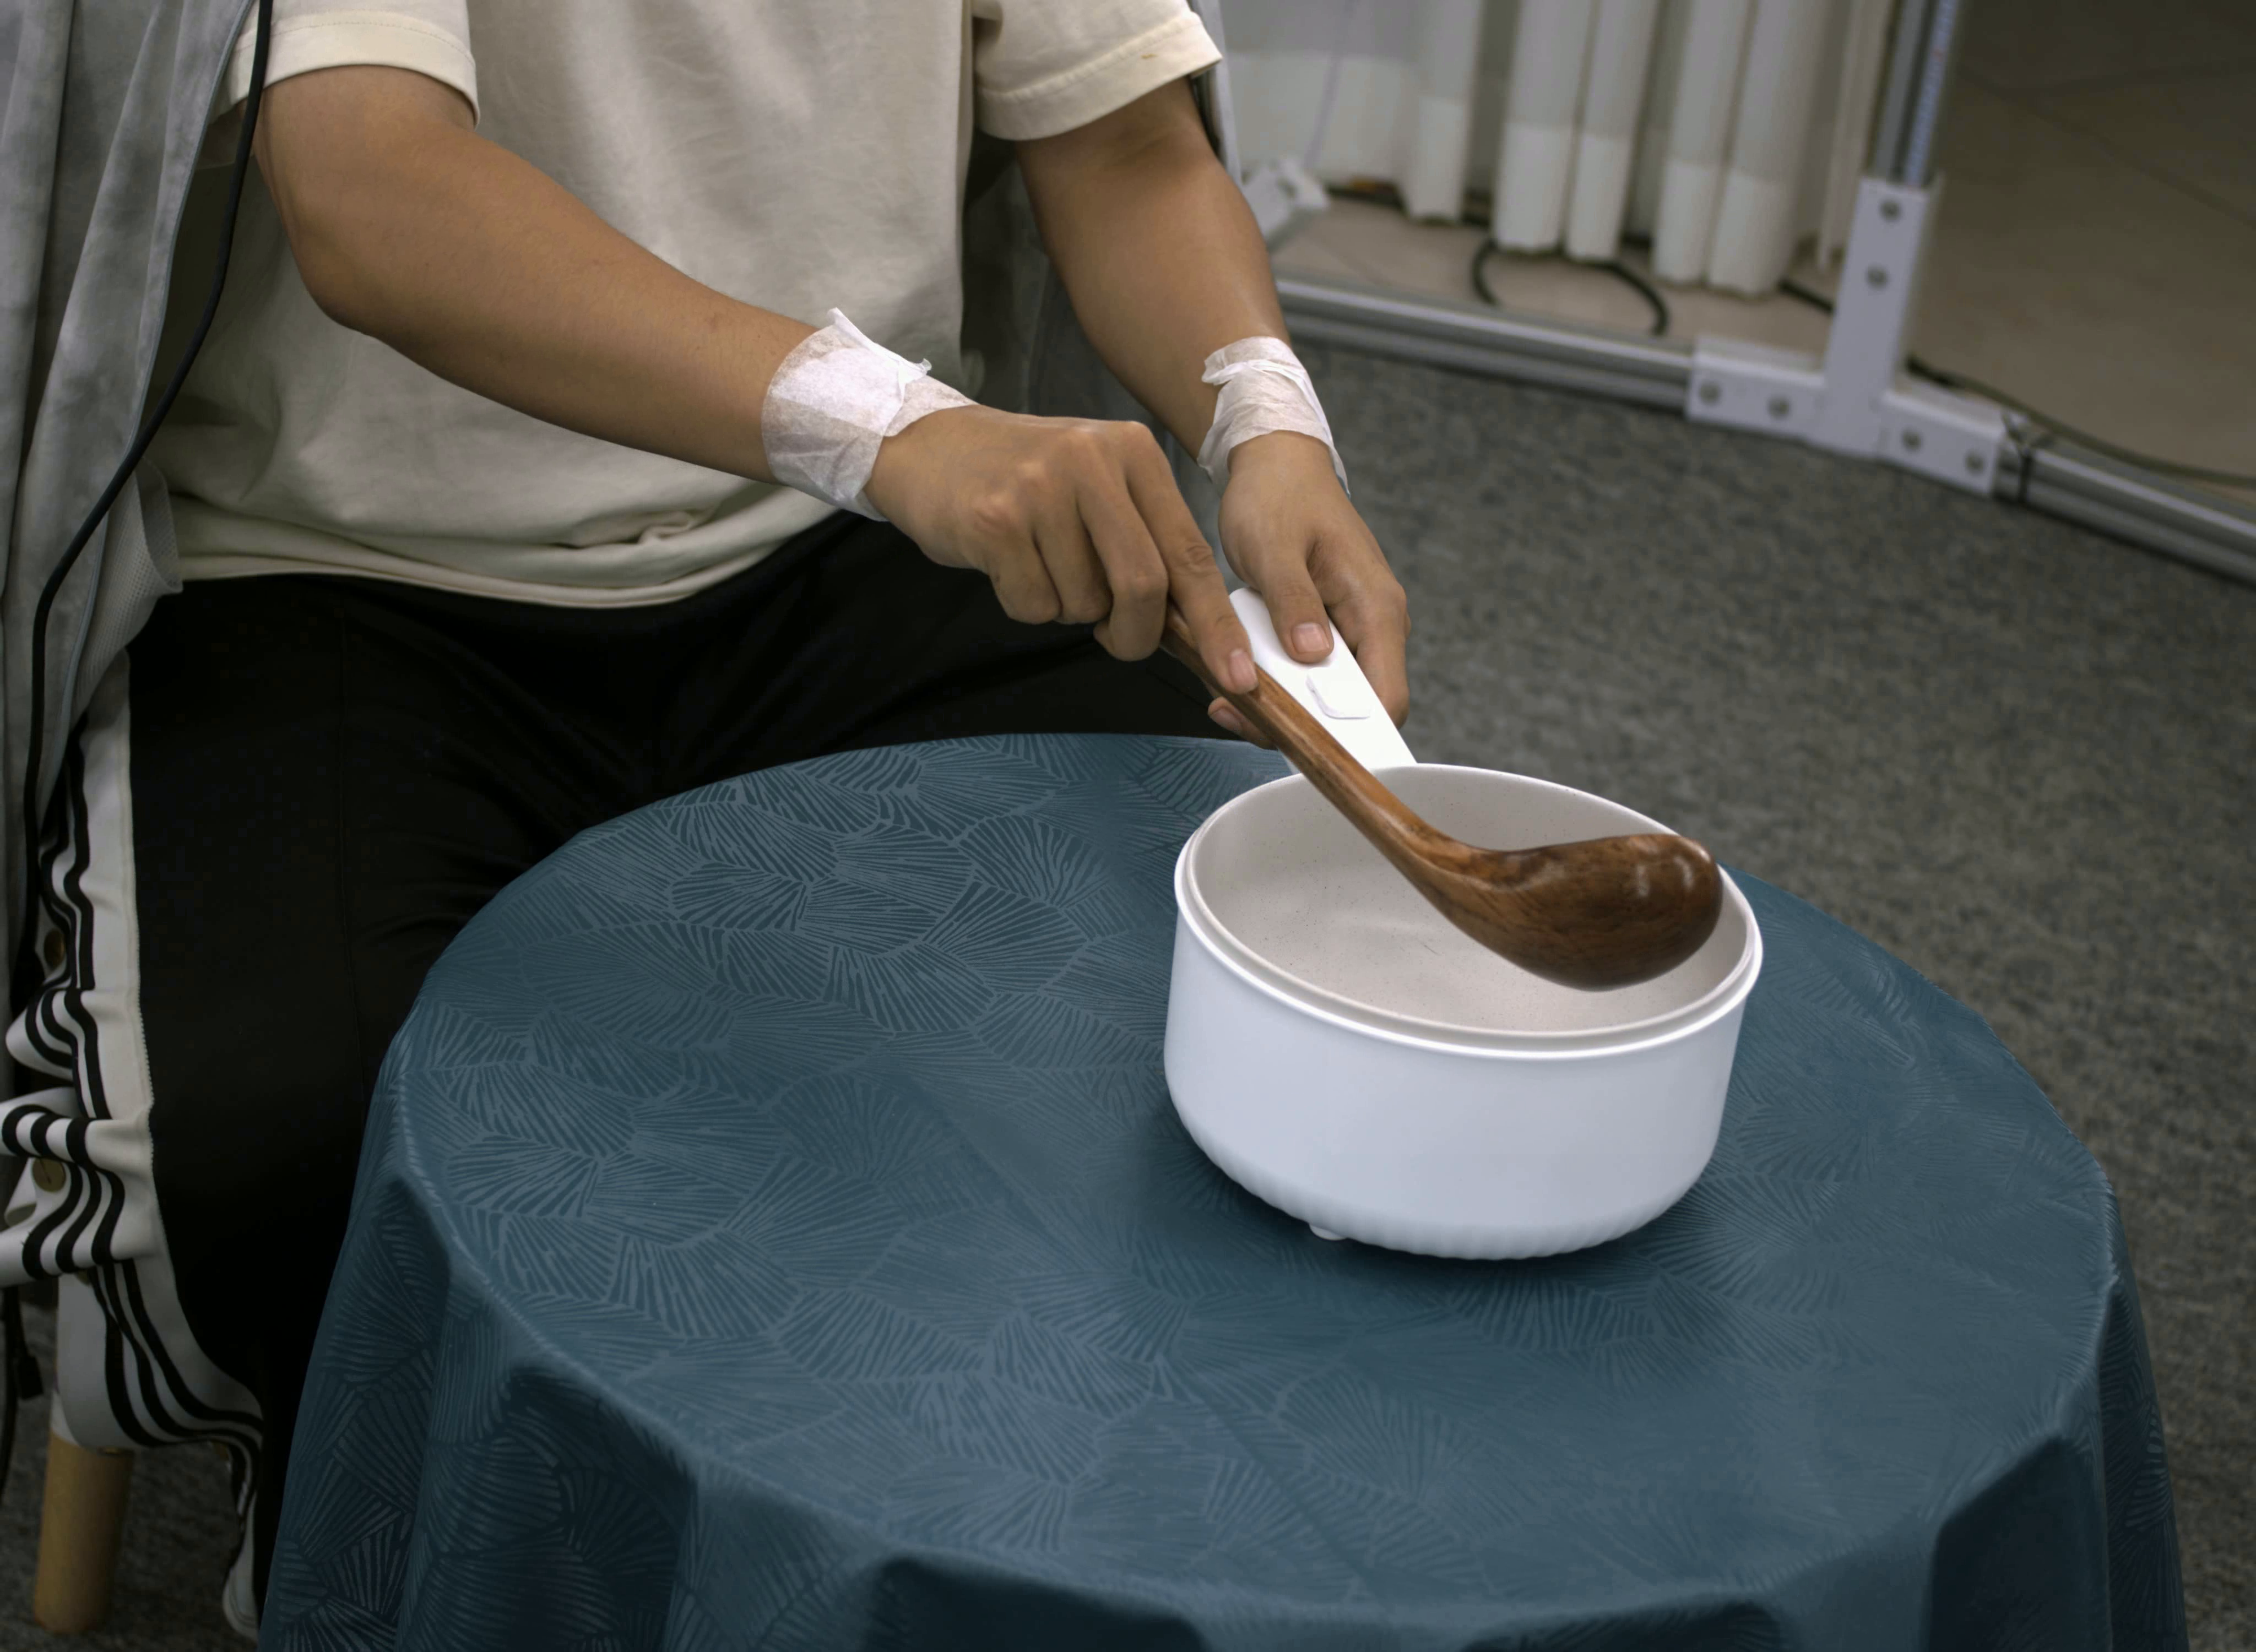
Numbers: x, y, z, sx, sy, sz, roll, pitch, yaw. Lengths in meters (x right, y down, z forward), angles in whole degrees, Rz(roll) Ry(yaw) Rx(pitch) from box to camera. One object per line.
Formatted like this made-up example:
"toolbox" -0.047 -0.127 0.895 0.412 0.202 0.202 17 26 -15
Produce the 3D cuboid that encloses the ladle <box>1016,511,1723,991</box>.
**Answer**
"ladle" 0.083 -0.039 1.813 0.076 0.081 0.276 -37 66 -28

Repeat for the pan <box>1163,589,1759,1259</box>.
"pan" 0.093 0.032 1.897 0.200 0.102 0.358 -1 27 -14
